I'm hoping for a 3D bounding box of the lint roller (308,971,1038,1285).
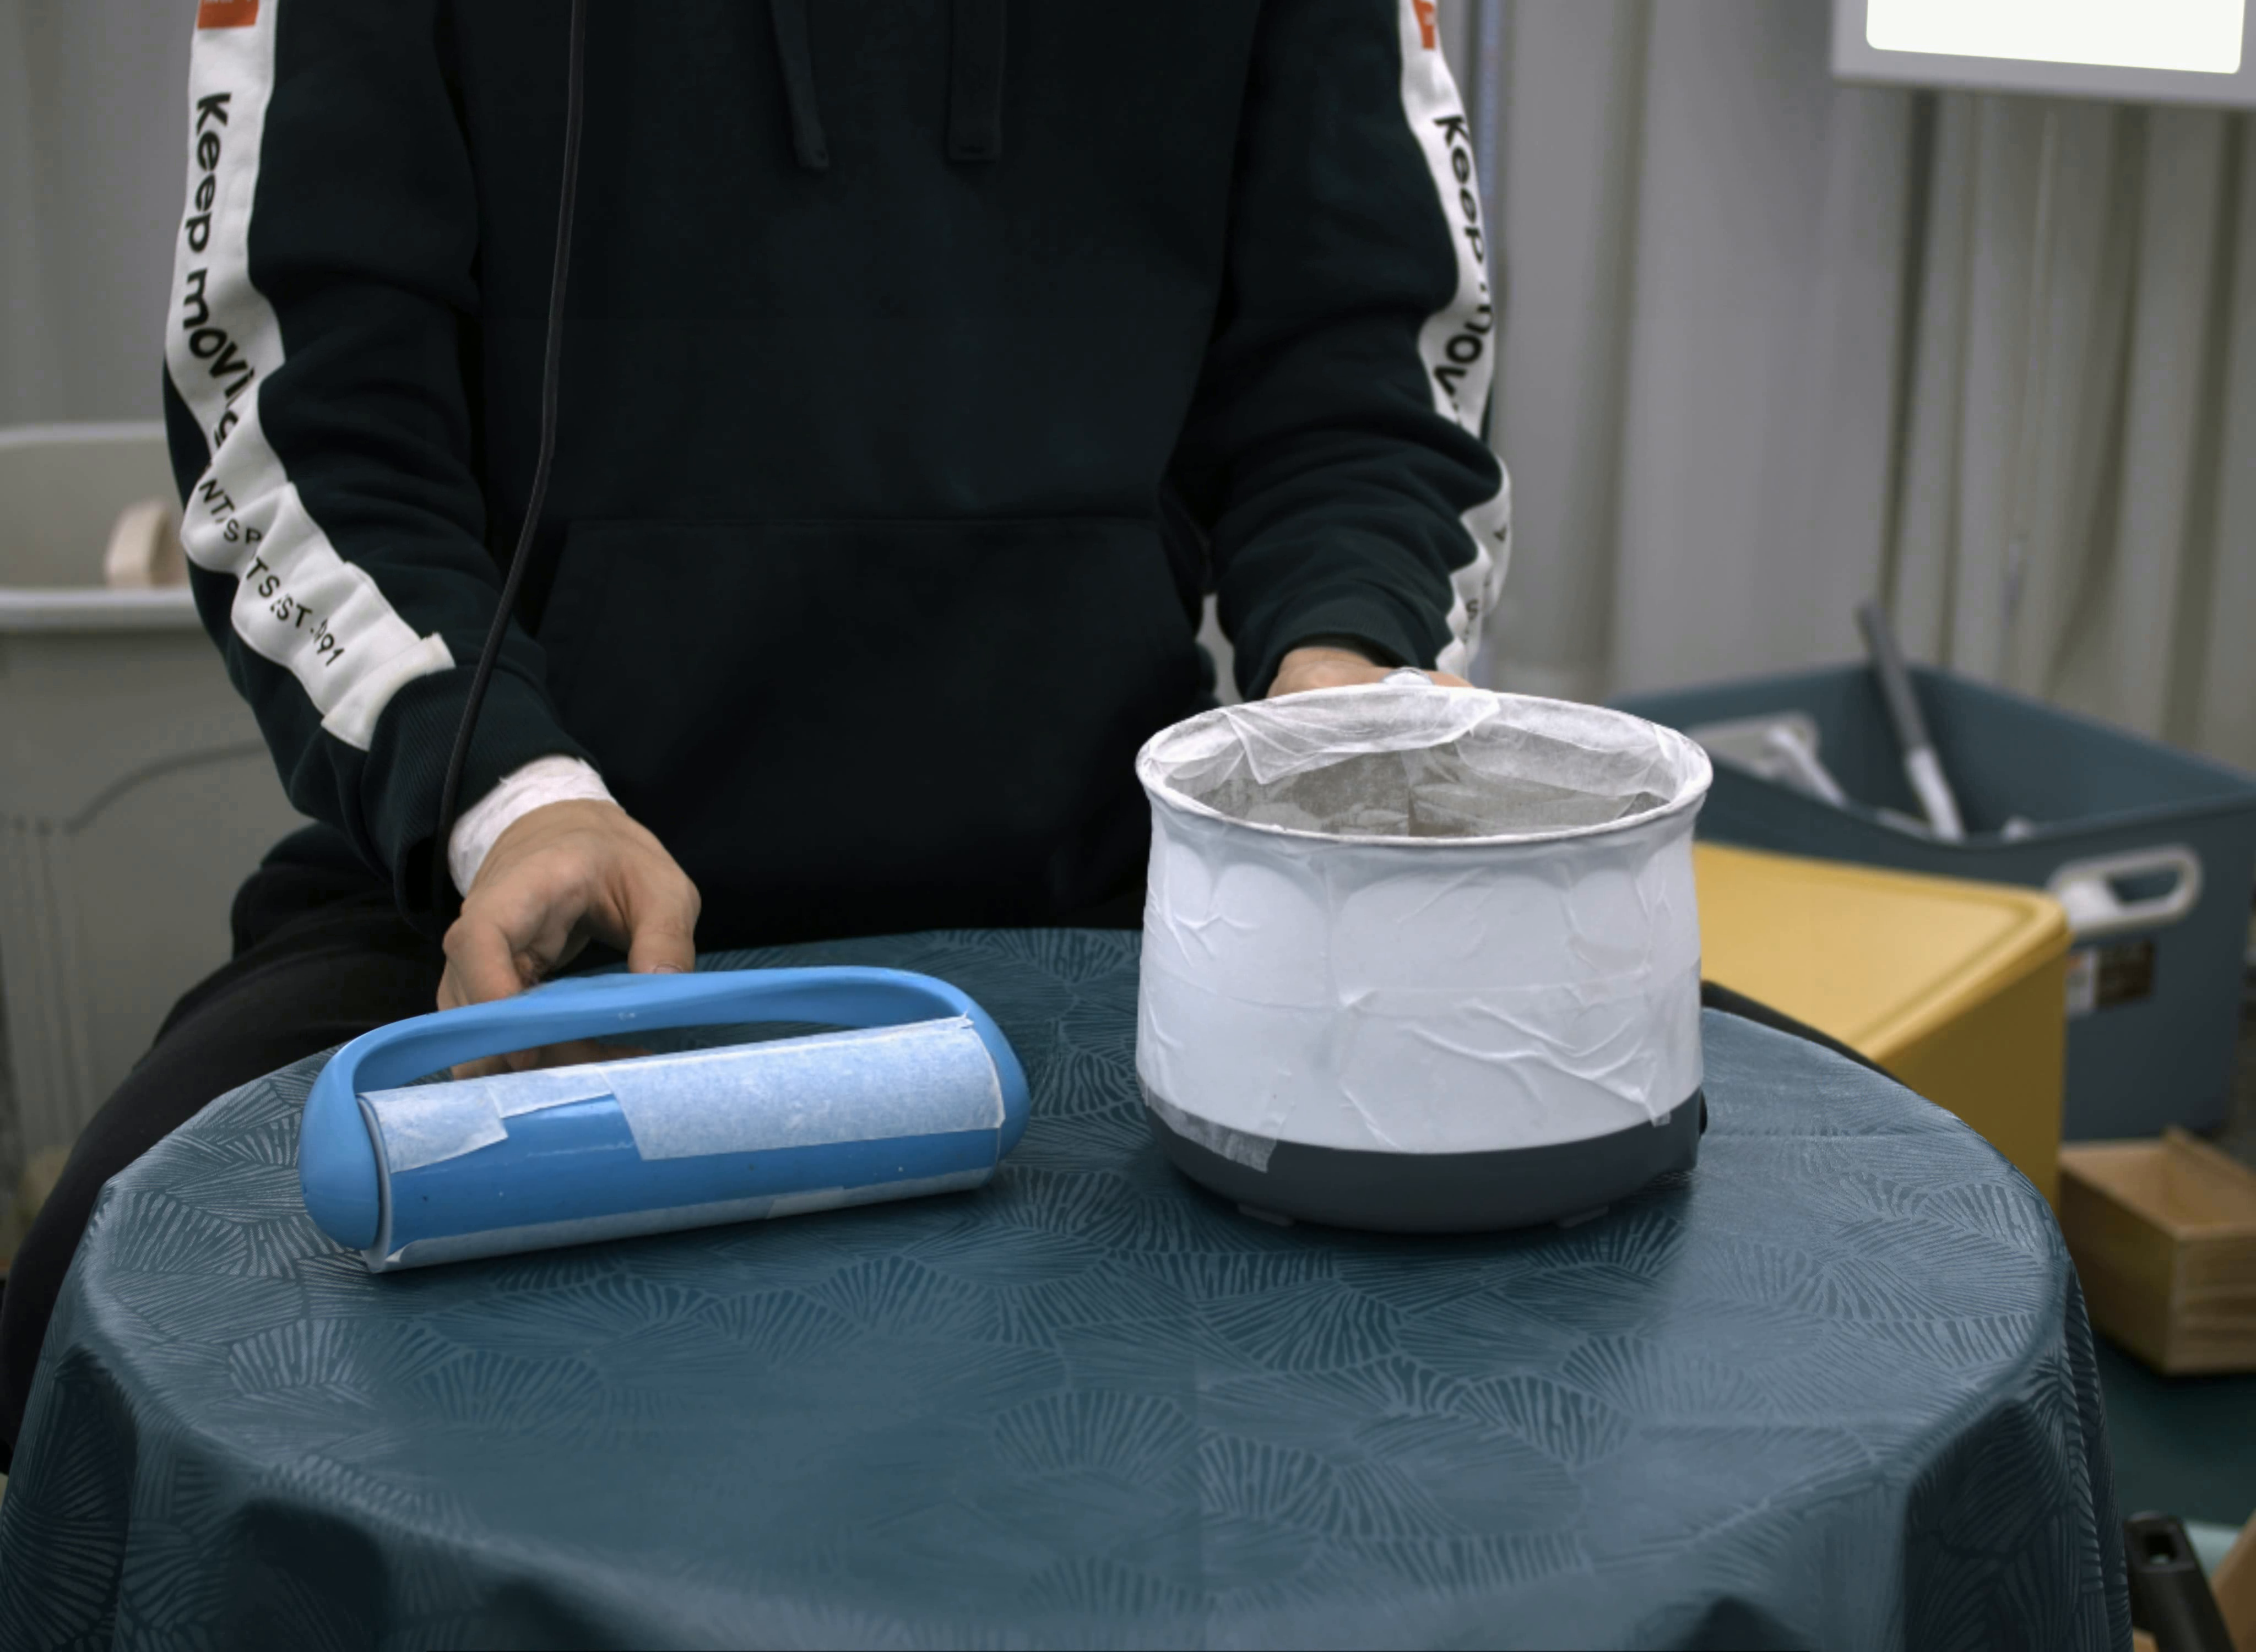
[{"bbox_3d":[-0.160,0.080,1.625,0.230,0.068,0.178,-10,19,-26],"label":"lint roller"}]

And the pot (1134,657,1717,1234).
[{"bbox_3d":[0.090,0.032,1.647,0.178,0.138,0.232,0,17,-1],"label":"pot"}]
